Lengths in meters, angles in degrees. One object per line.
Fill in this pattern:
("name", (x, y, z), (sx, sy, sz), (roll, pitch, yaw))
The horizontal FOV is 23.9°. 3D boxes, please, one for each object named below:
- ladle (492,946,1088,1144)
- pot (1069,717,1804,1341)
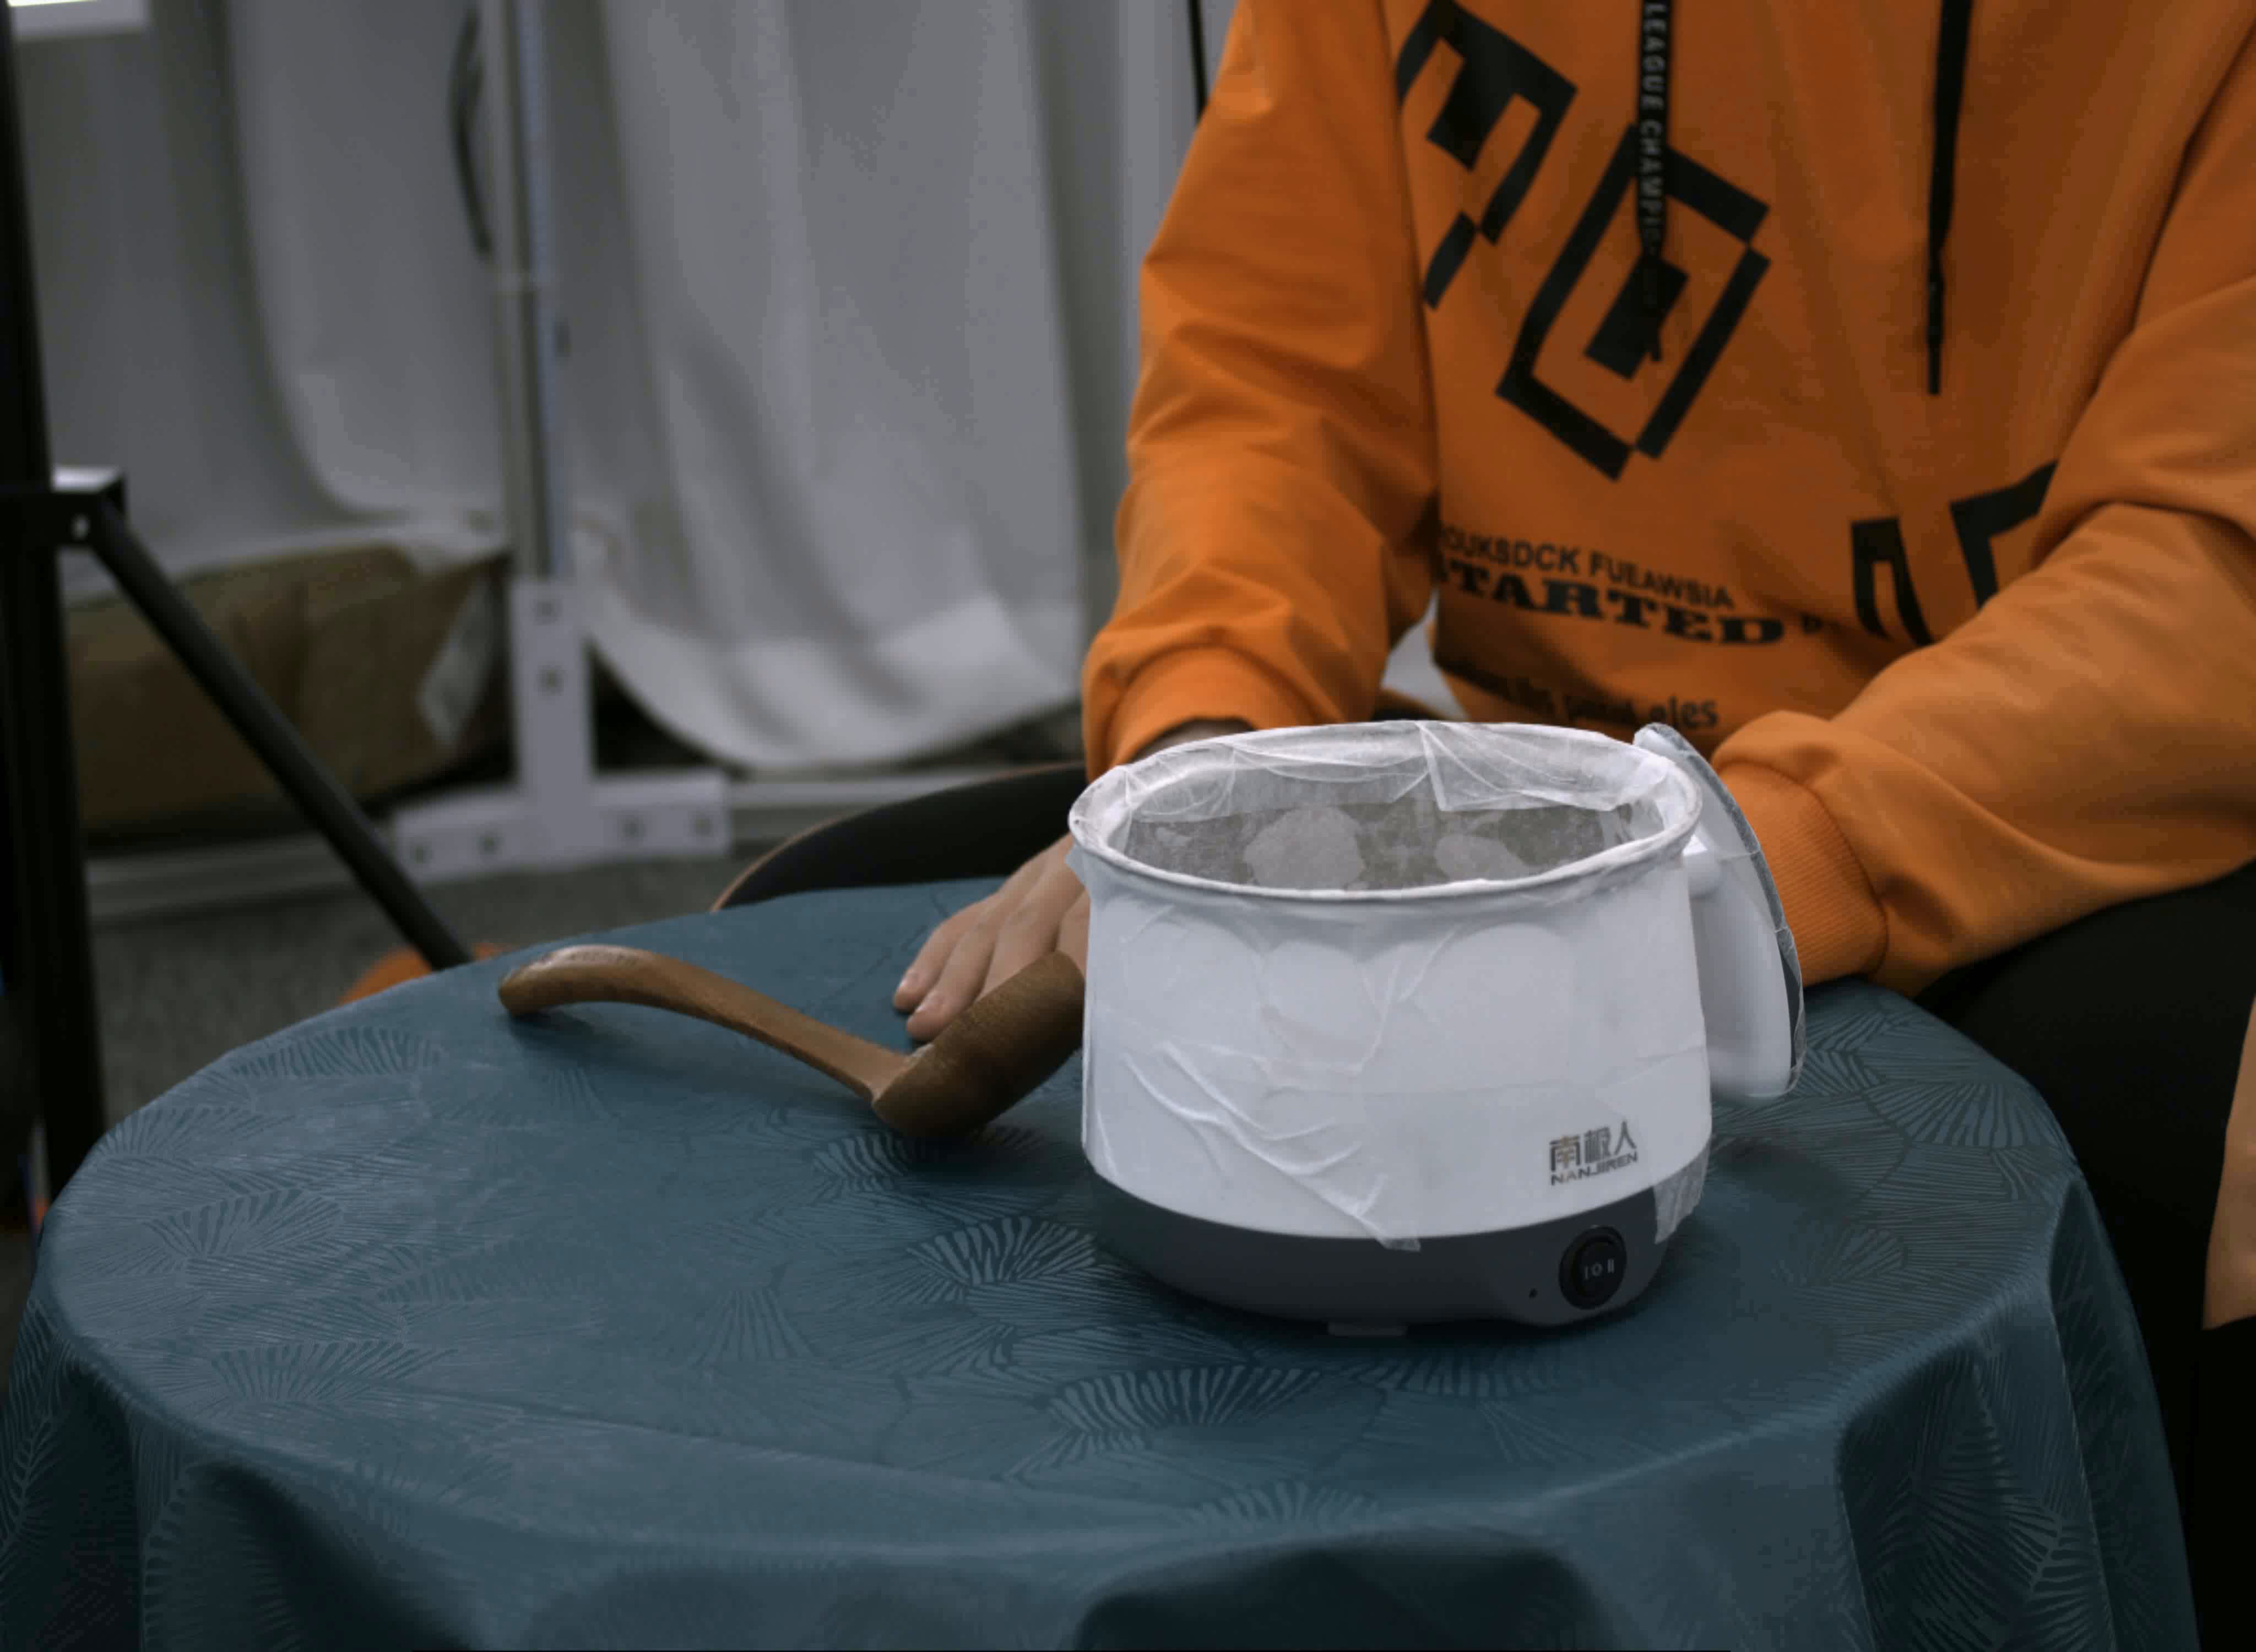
("ladle", (-0.115, 0.051, 1.662), (0.266, 0.065, 0.075), (14, 30, 44))
("pot", (0.096, 0.050, 1.497), (0.228, 0.136, 0.183), (-13, 19, -34))
